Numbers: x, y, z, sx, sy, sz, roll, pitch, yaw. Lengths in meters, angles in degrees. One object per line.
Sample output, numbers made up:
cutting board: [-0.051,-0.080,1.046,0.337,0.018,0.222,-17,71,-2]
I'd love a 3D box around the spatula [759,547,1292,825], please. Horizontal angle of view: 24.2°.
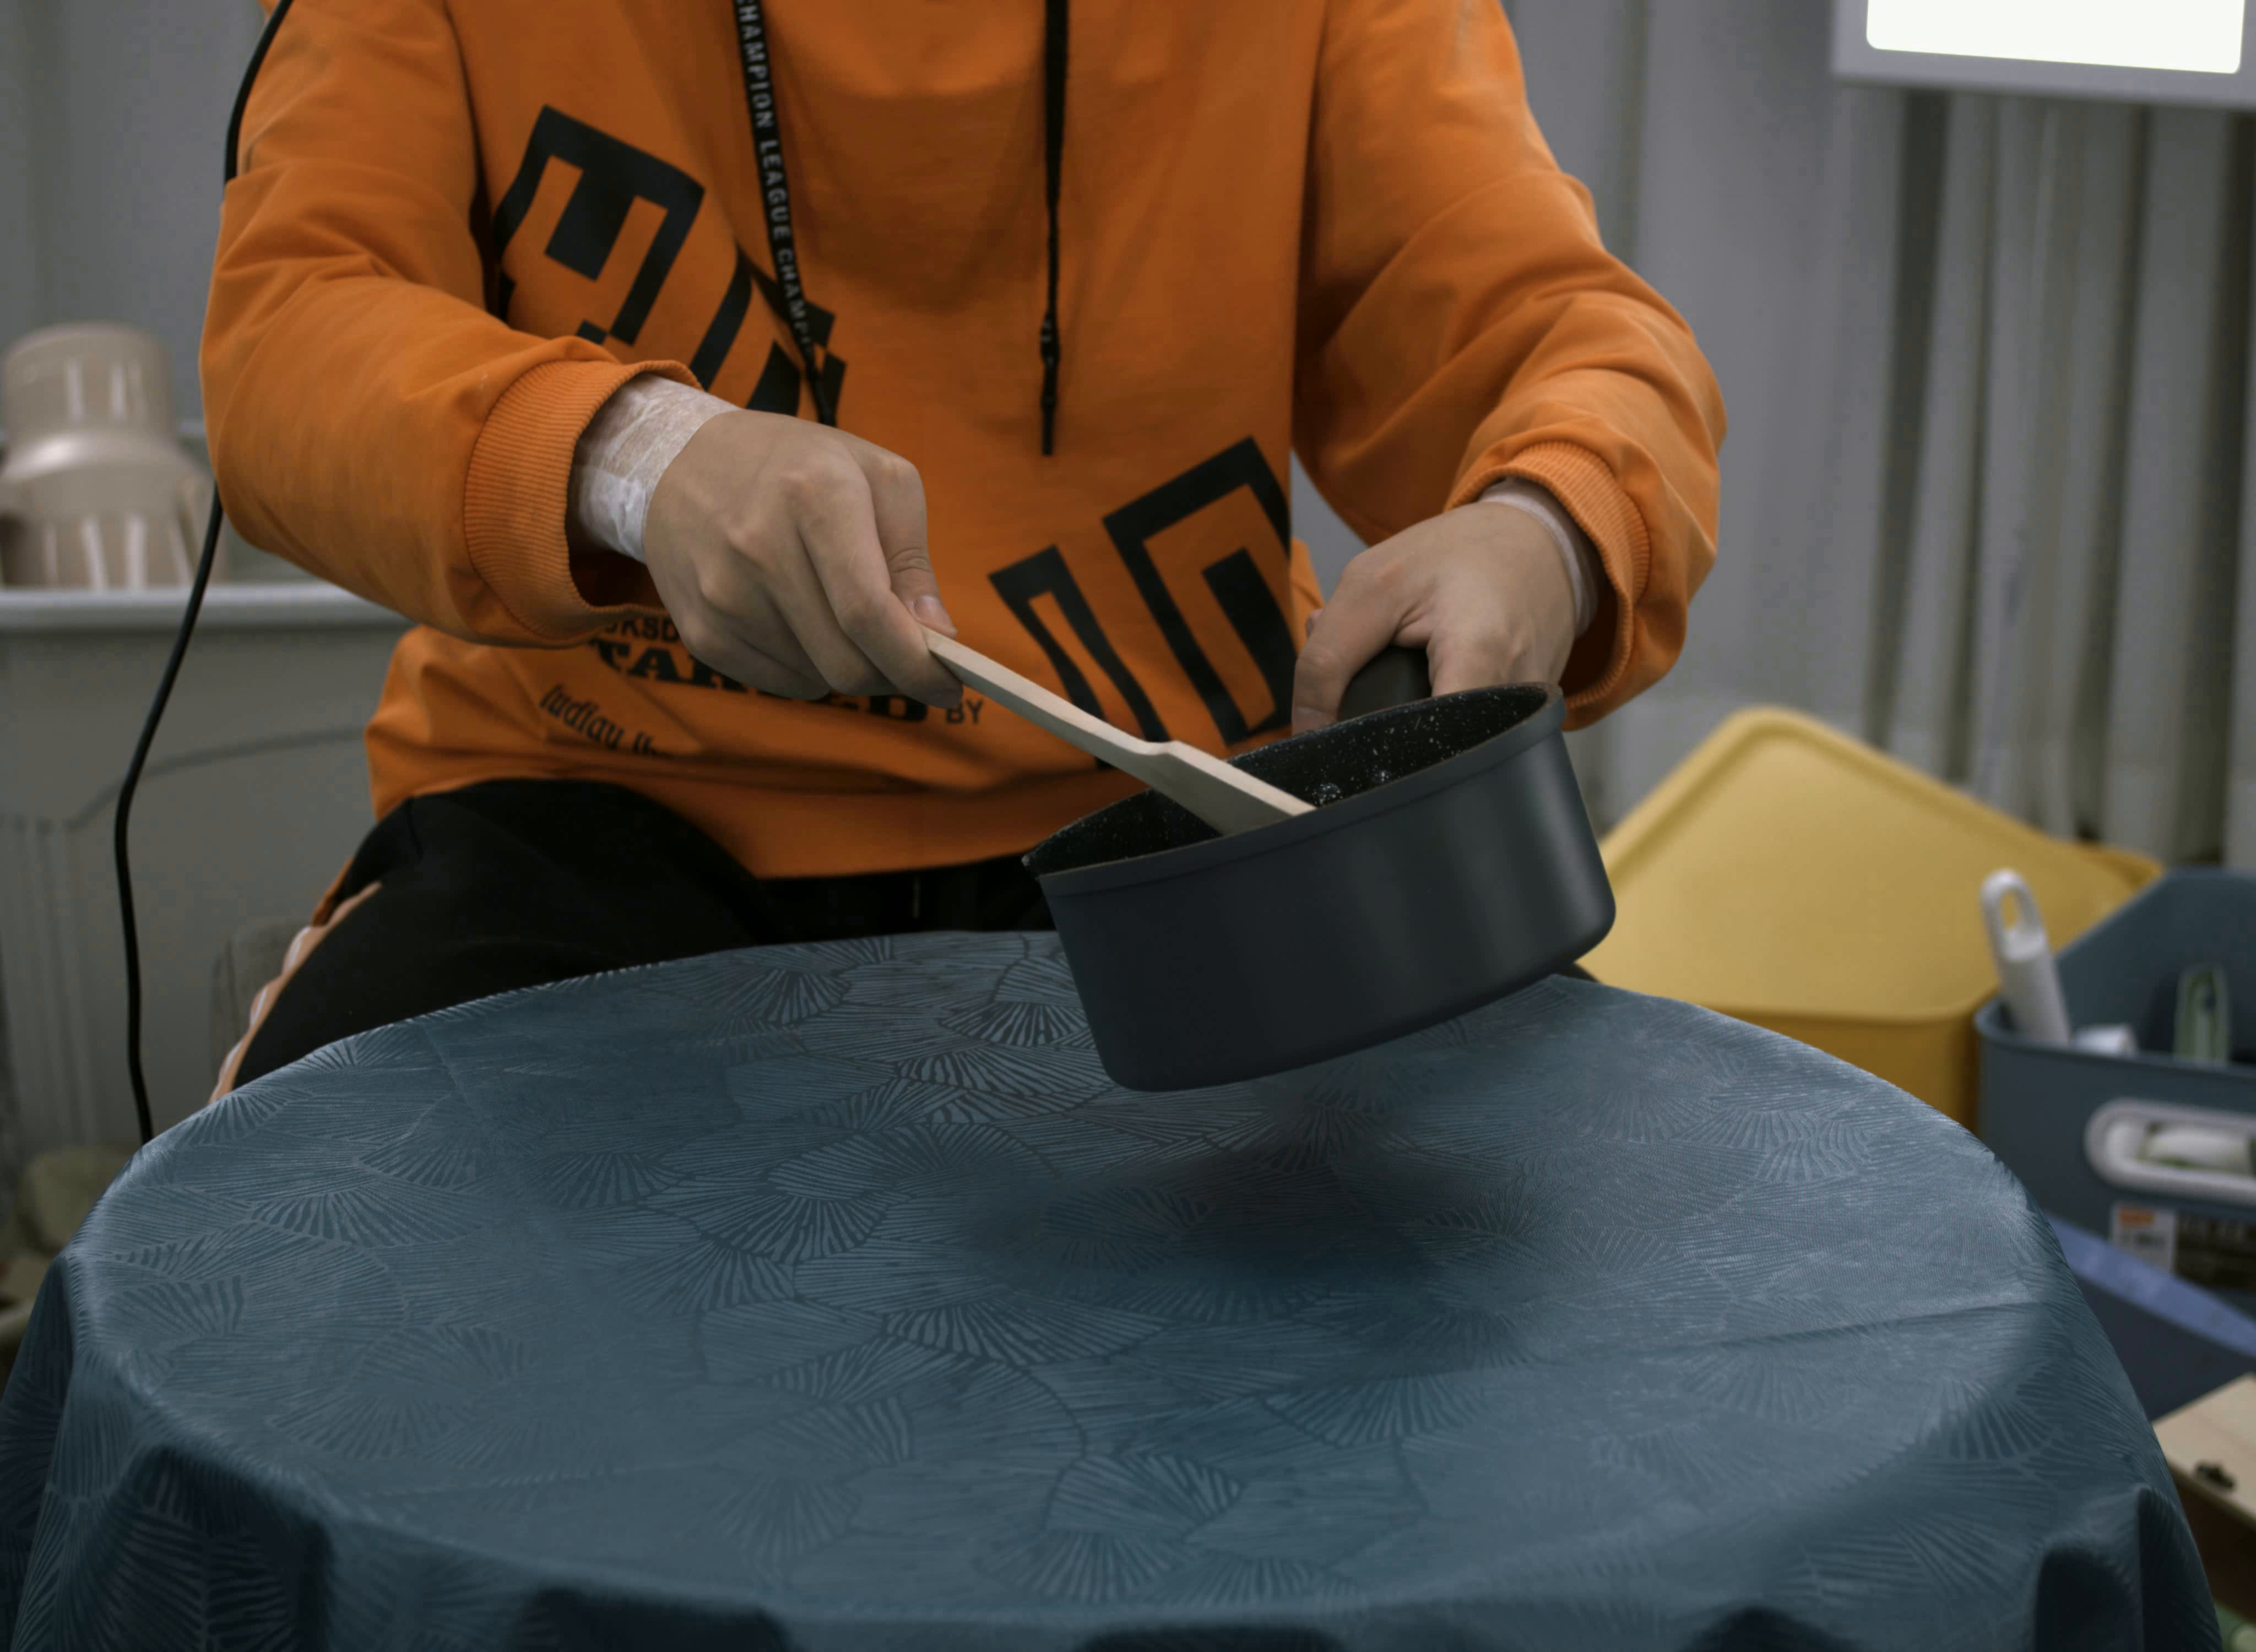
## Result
spatula: [-0.019,-0.034,1.655,0.289,0.010,0.073,28,-13,38]

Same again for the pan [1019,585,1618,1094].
pan: [0.078,-0.002,1.661,0.171,0.087,0.328,-15,10,17]
